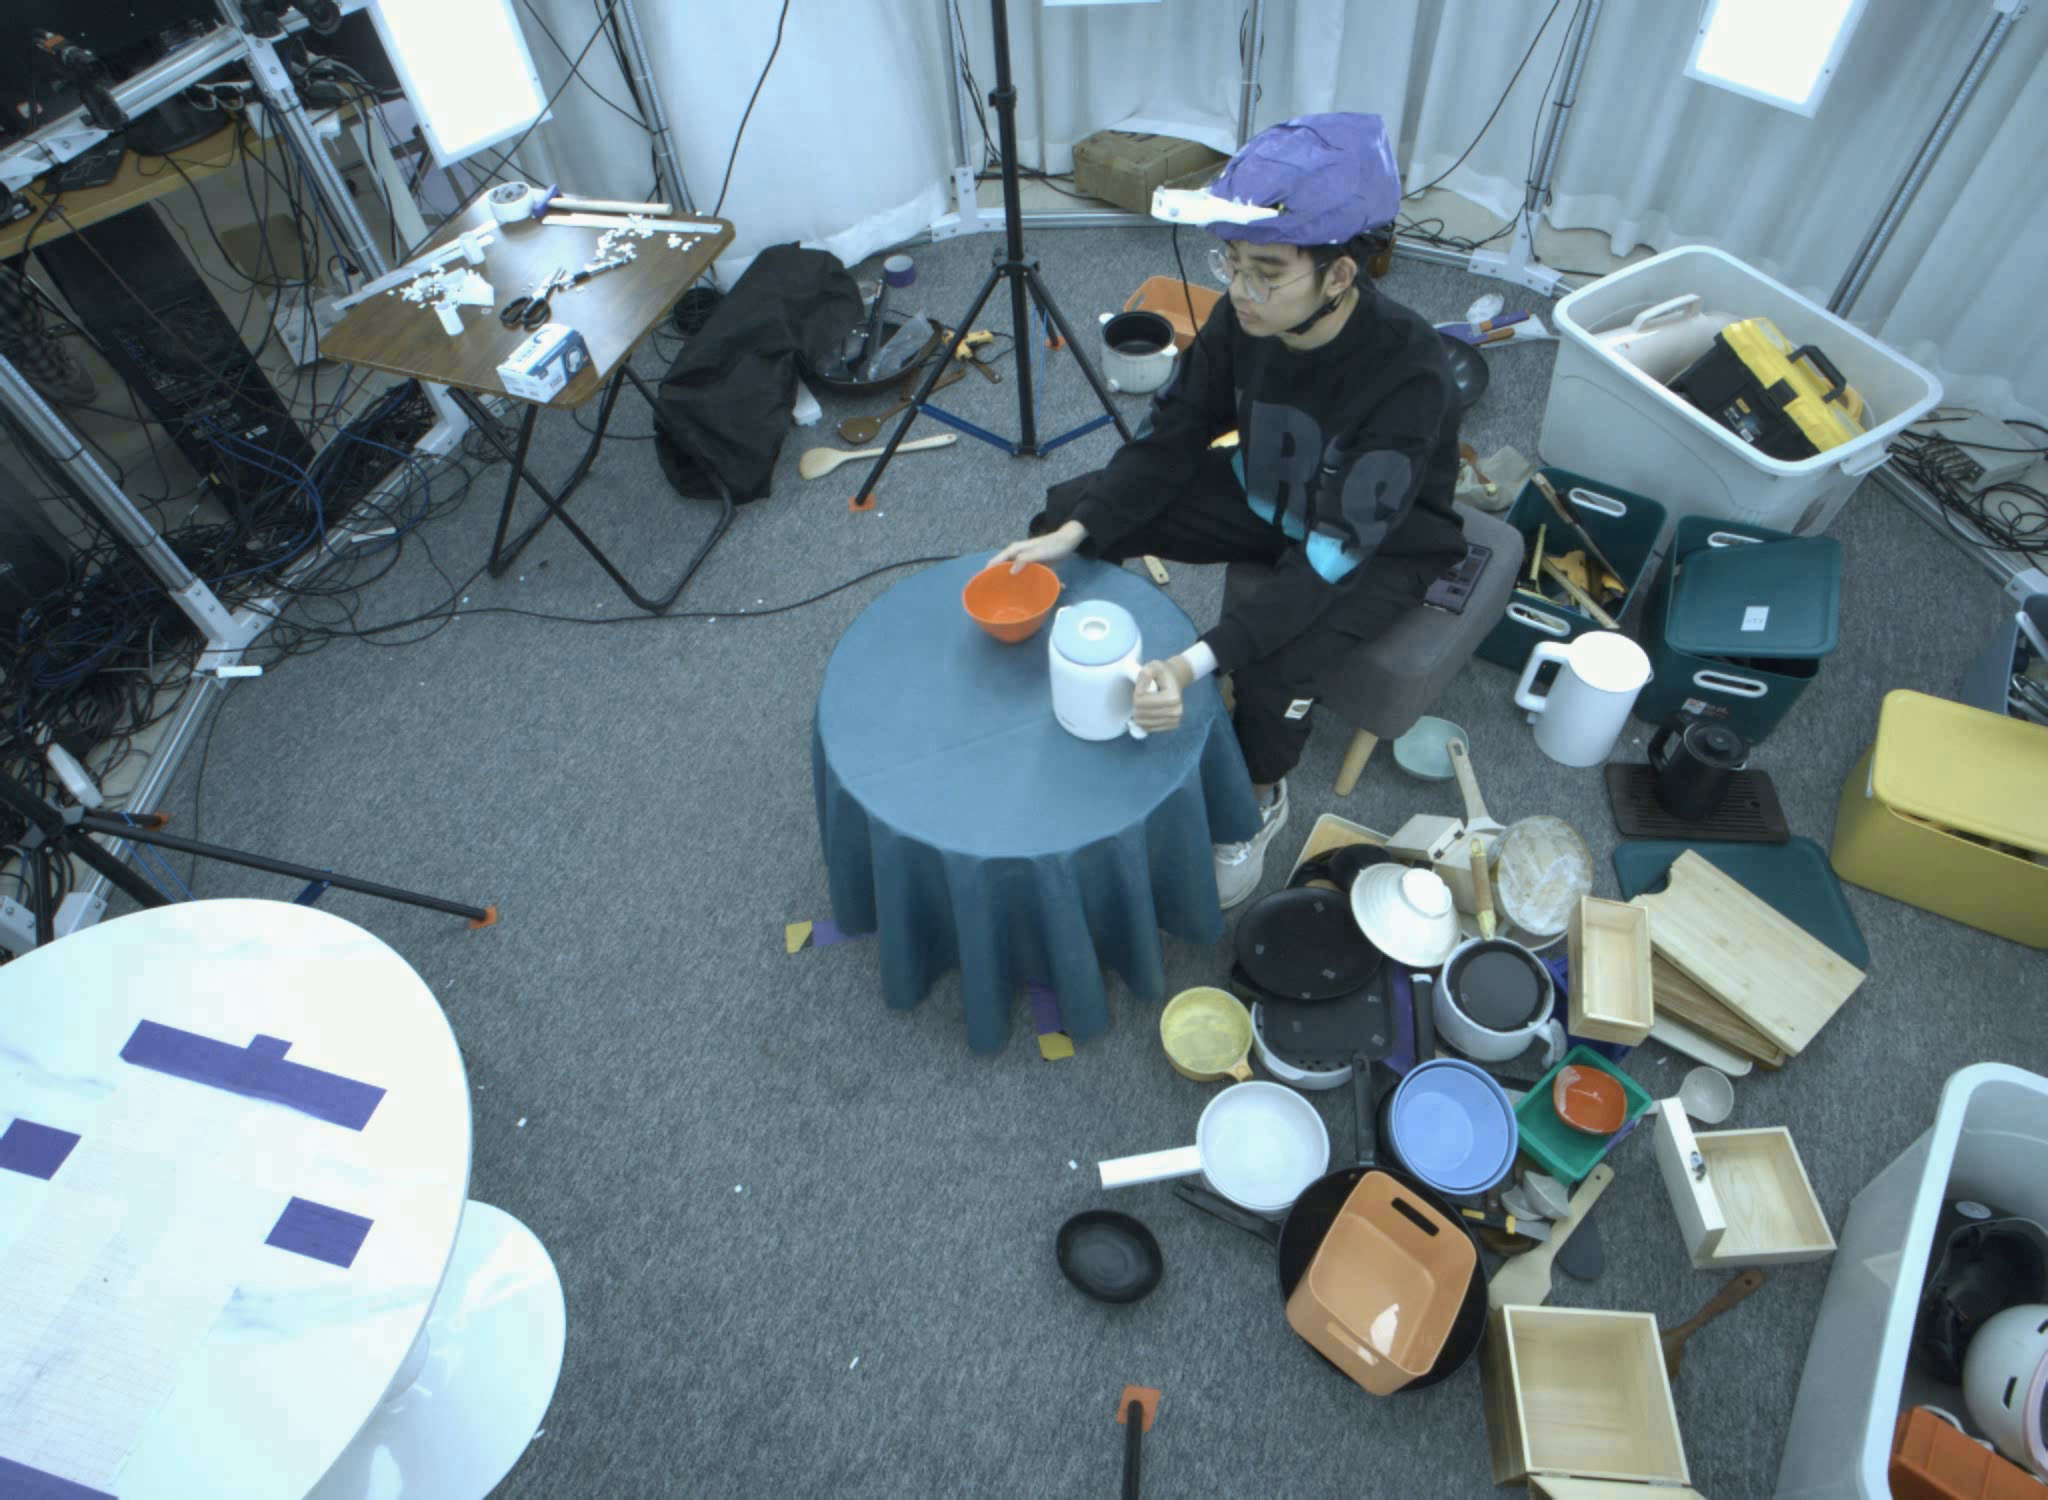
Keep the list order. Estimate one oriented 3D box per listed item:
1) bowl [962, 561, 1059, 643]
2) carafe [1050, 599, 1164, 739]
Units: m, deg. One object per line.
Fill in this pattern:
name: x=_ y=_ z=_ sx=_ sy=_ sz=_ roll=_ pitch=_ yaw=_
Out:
bowl: x=-0.019 y=-0.213 z=1.873 sx=0.148 sy=0.106 sz=0.146 roll=-1 pitch=56 yaw=2
carafe: x=0.122 y=-0.101 z=1.745 sx=0.188 sy=0.184 sz=0.133 roll=37 pitch=66 yaw=23
